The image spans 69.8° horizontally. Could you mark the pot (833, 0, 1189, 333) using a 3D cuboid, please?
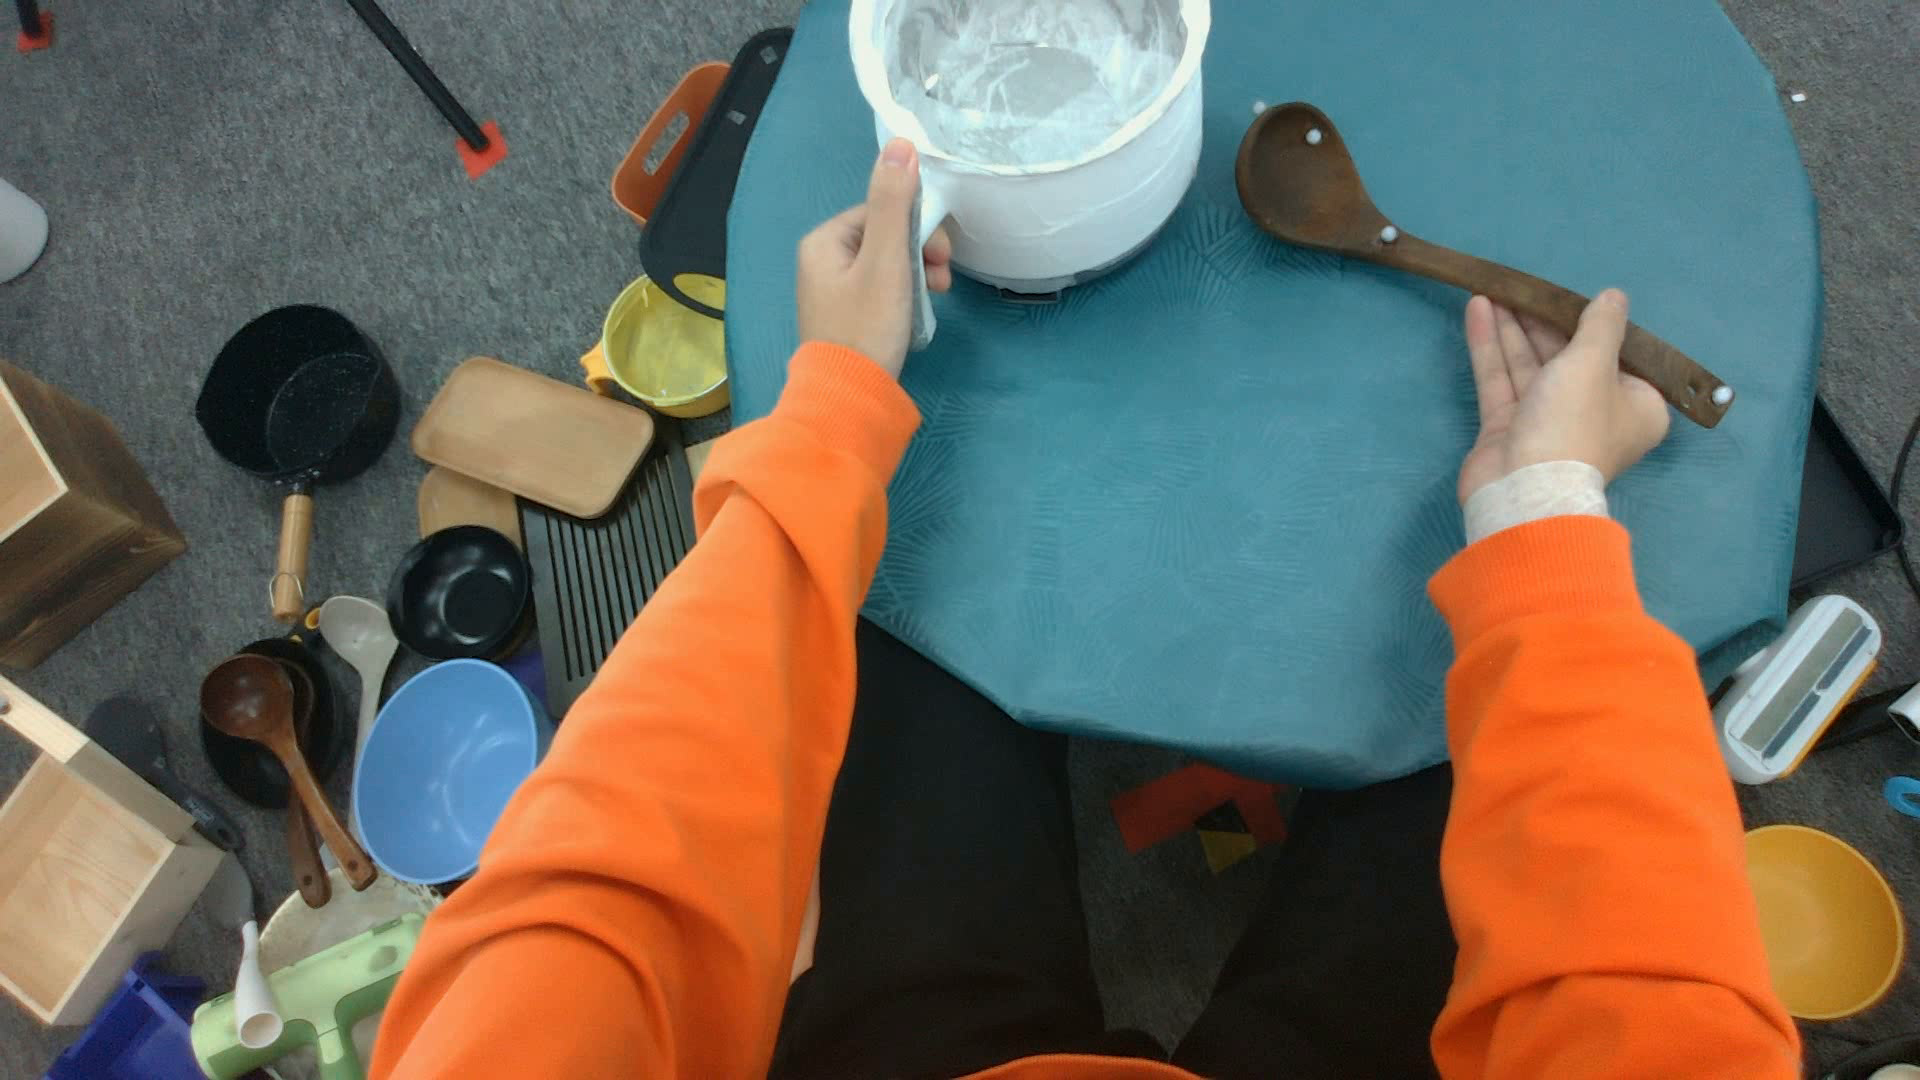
[{"bbox_3d":[0.016,-0.222,0.730,0.179,0.136,0.234,31,78,16],"label":"pot"}]

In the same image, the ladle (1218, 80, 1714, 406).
[{"bbox_3d":[0.255,-0.155,0.703,0.274,0.071,0.076,33,76,25],"label":"ladle"}]
